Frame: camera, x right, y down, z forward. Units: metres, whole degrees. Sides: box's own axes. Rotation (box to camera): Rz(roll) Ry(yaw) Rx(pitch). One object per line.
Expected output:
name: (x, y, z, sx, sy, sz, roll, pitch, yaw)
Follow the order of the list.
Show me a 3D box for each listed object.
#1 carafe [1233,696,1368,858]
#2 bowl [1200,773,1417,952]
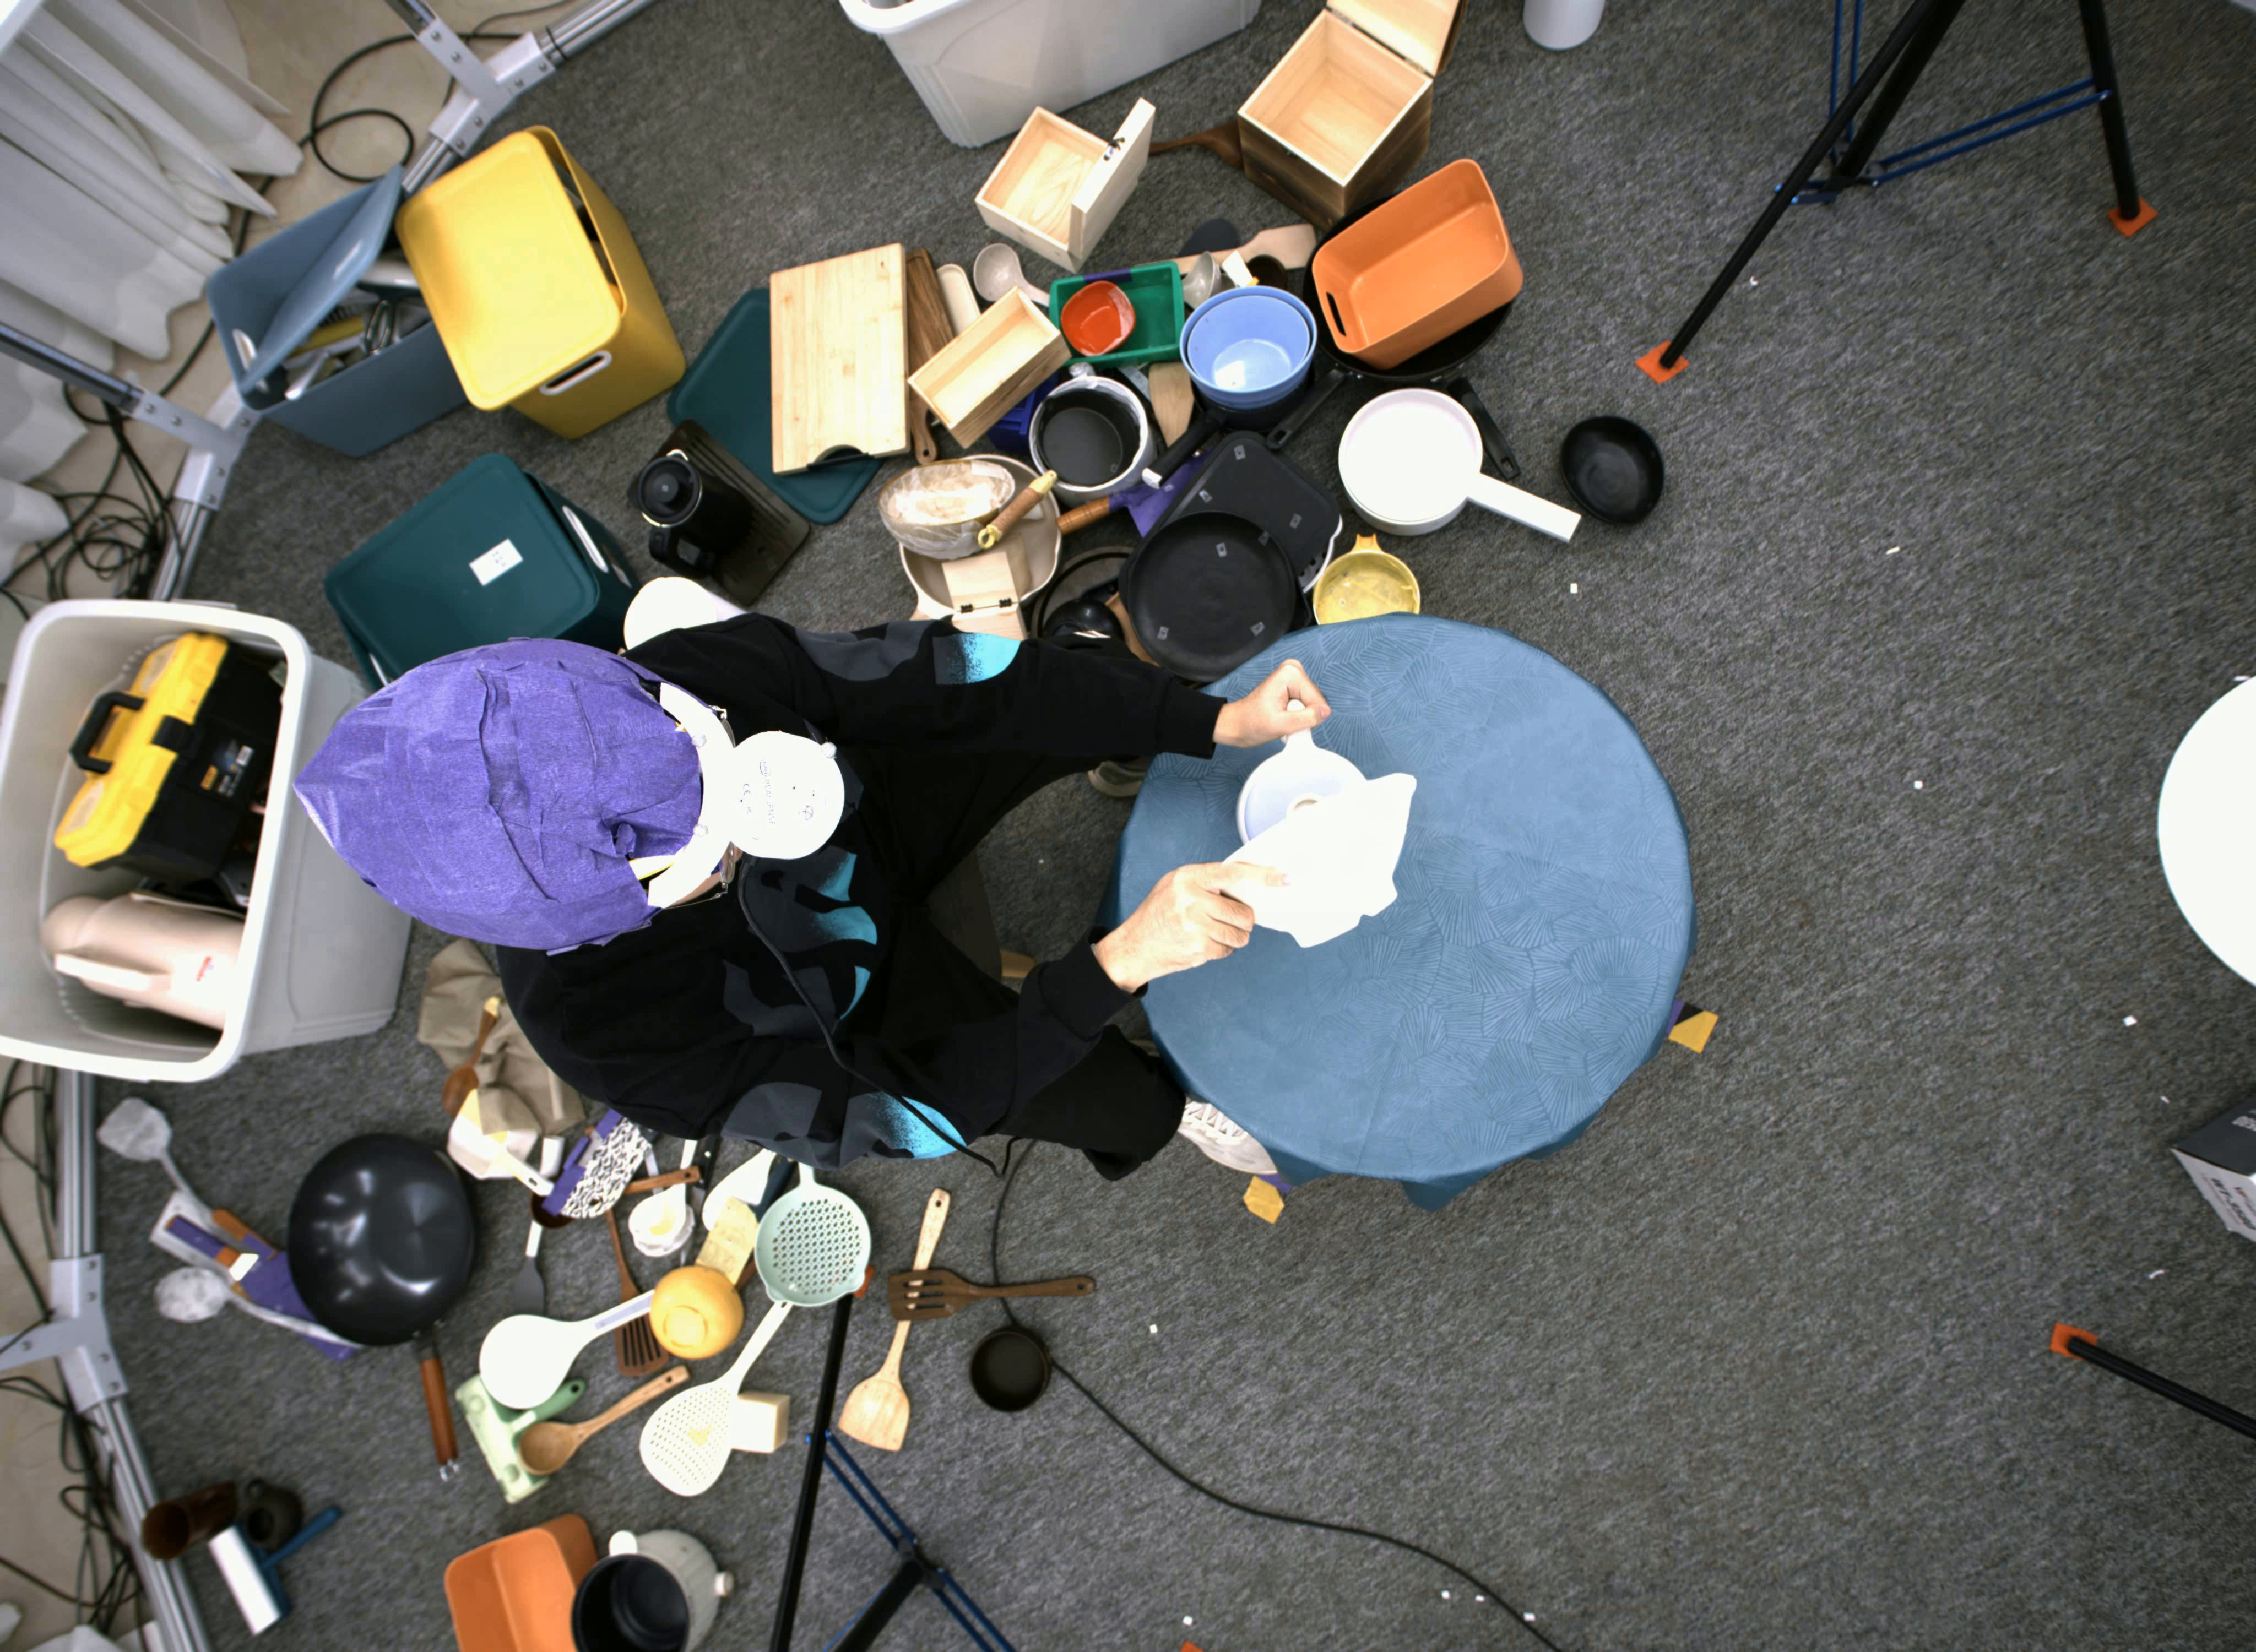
carafe: (0.166, -0.035, 1.348, 0.132, 0.182, 0.191, -8, 90, 3)
bowl: (0.164, 0.045, 1.110, 0.205, 0.205, 0.077, -32, 74, 6)
